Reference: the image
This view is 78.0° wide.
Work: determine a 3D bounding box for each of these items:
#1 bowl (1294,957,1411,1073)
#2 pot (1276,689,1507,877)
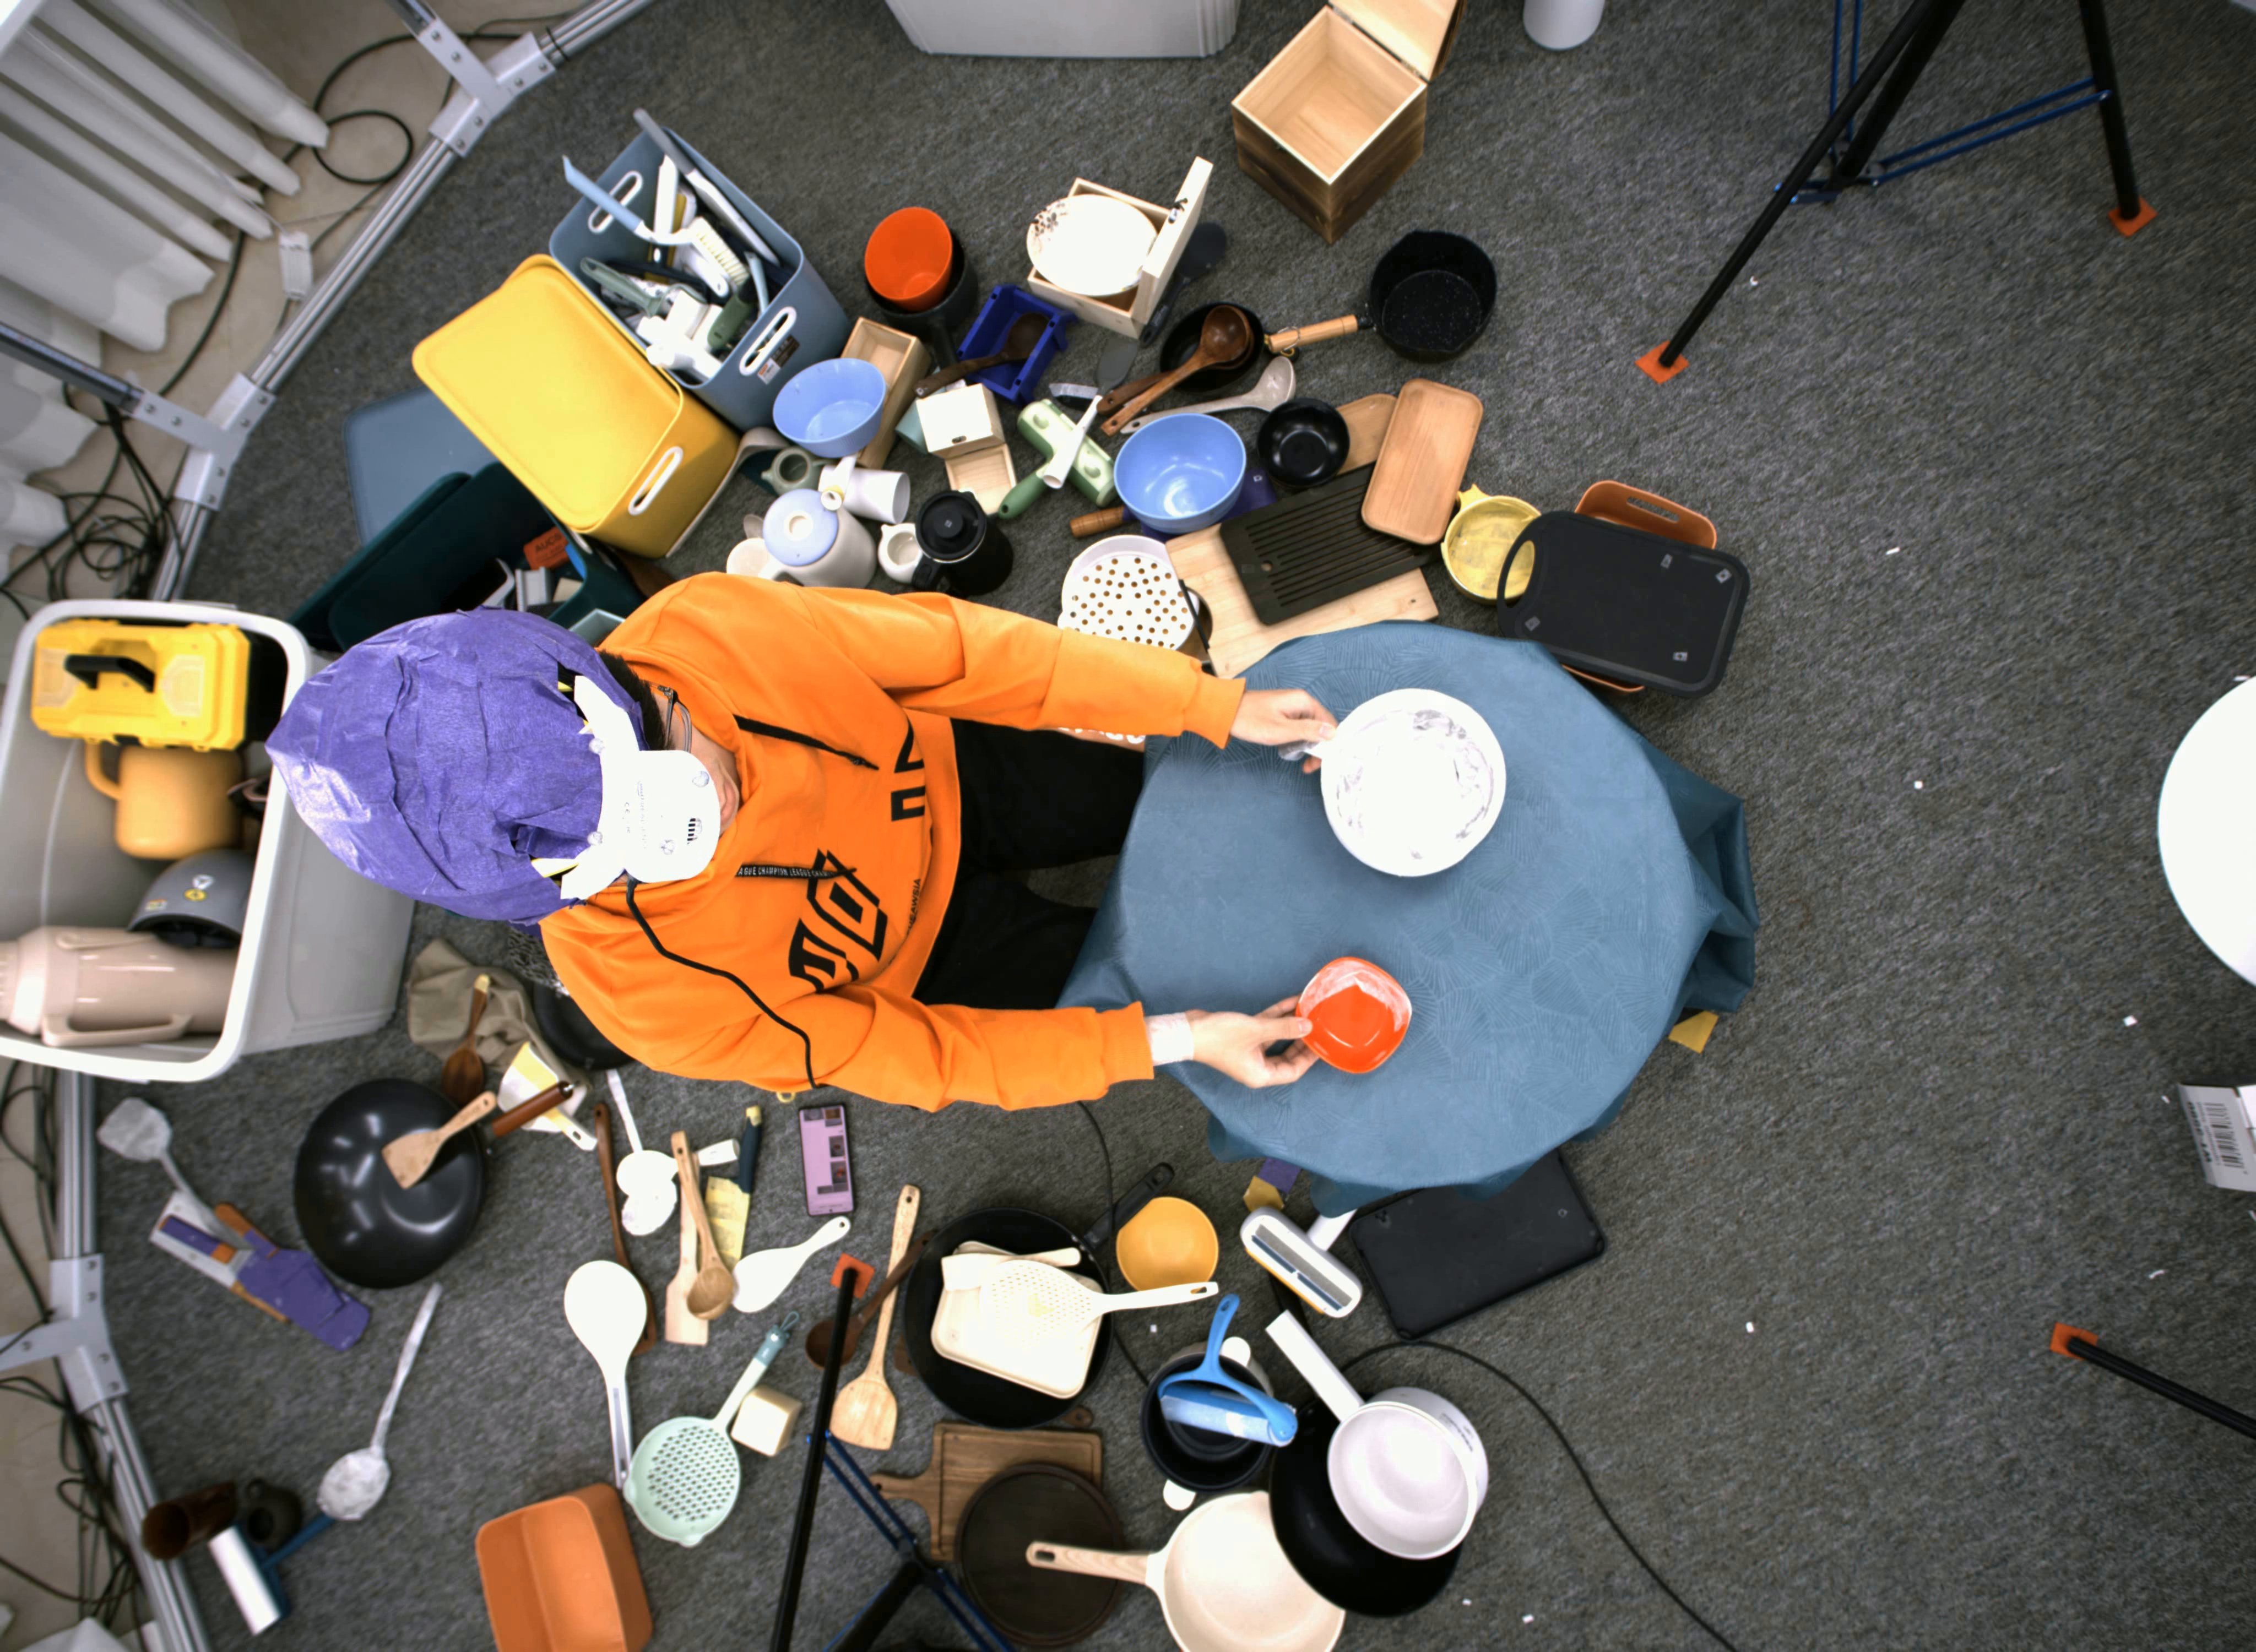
[{"bbox_3d":[0.232,0.193,1.434,0.119,0.051,0.118,-1,87,10],"label":"bowl"},{"bbox_3d":[0.260,-0.050,1.398,0.234,0.137,0.178,21,89,10],"label":"pot"}]
